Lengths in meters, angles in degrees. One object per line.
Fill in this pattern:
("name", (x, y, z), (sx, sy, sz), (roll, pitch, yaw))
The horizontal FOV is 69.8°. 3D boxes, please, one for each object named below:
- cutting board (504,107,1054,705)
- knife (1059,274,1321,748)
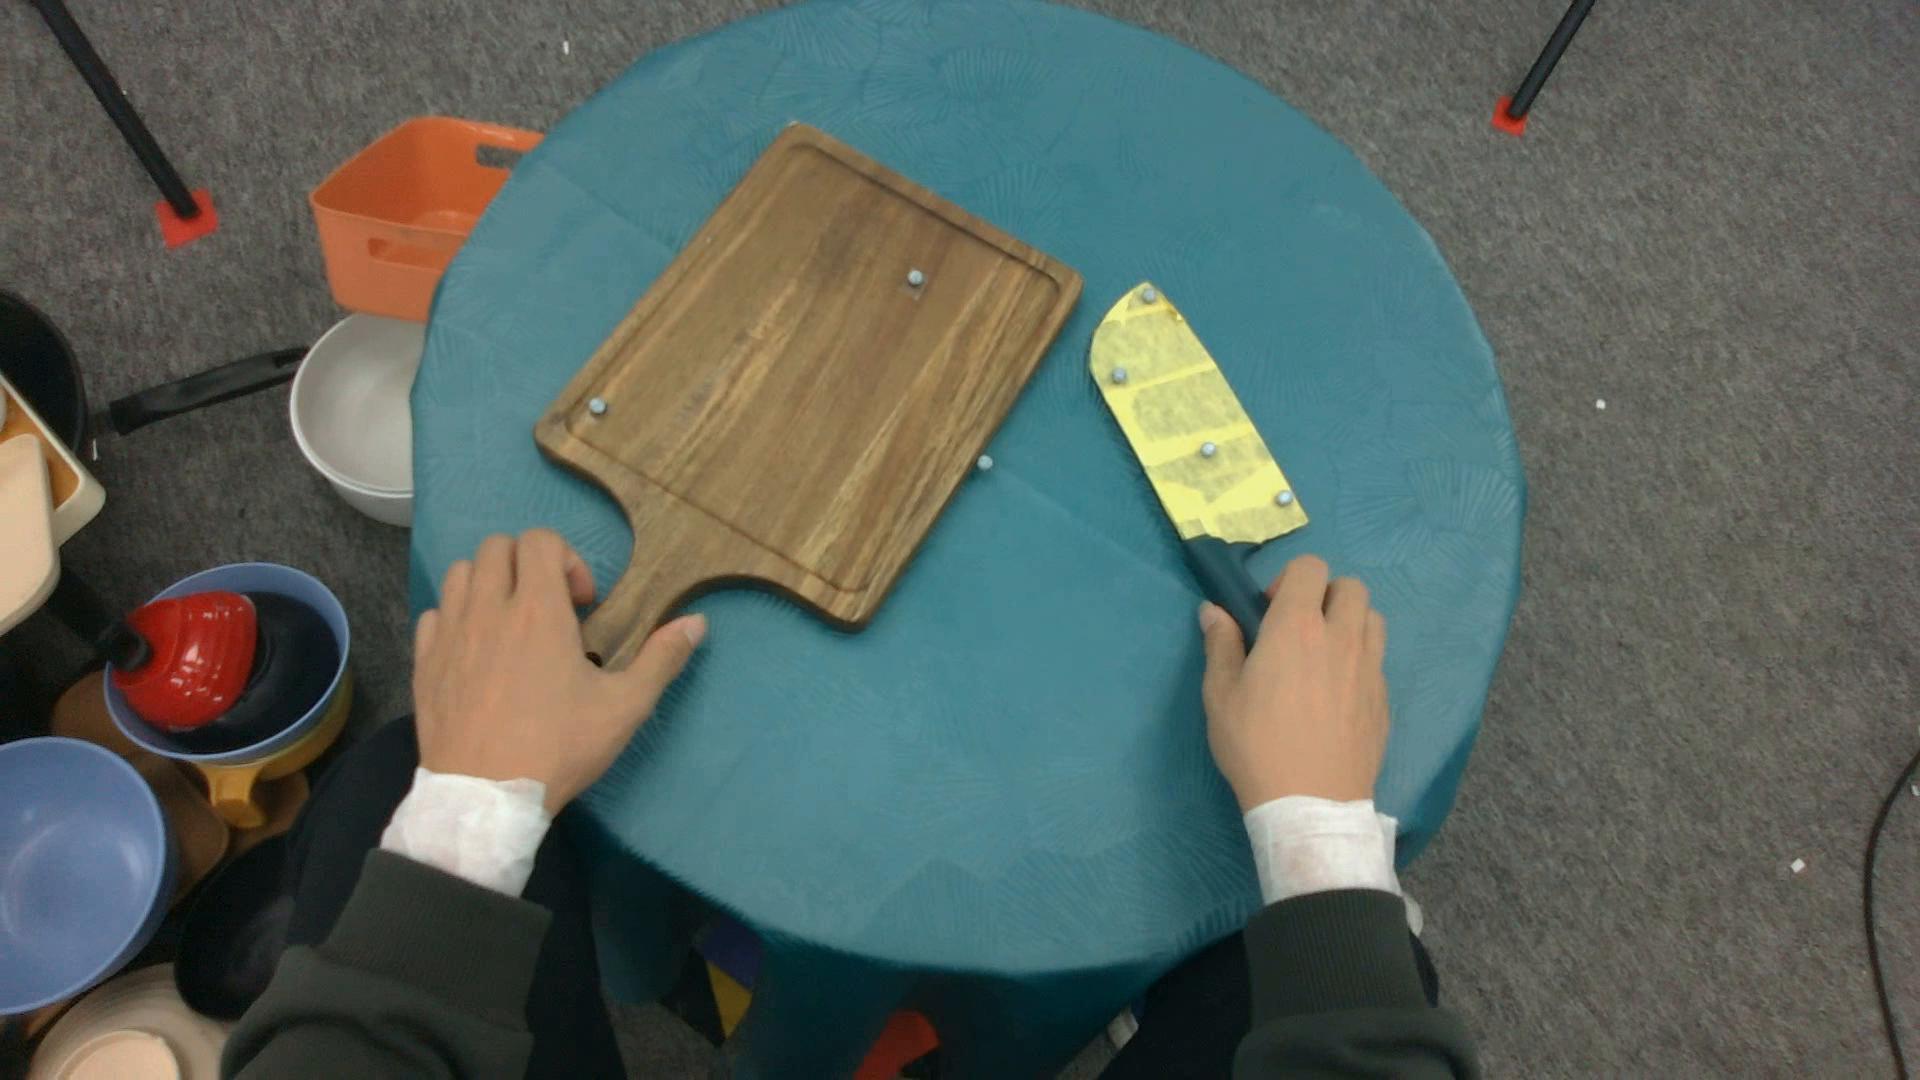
("cutting board", (-0.111, -0.066, 0.714), (0.201, 0.023, 0.353), (29, 65, 5))
("knife", (0.129, -0.026, 0.737), (0.081, 0.027, 0.290), (-16, 69, -16))
